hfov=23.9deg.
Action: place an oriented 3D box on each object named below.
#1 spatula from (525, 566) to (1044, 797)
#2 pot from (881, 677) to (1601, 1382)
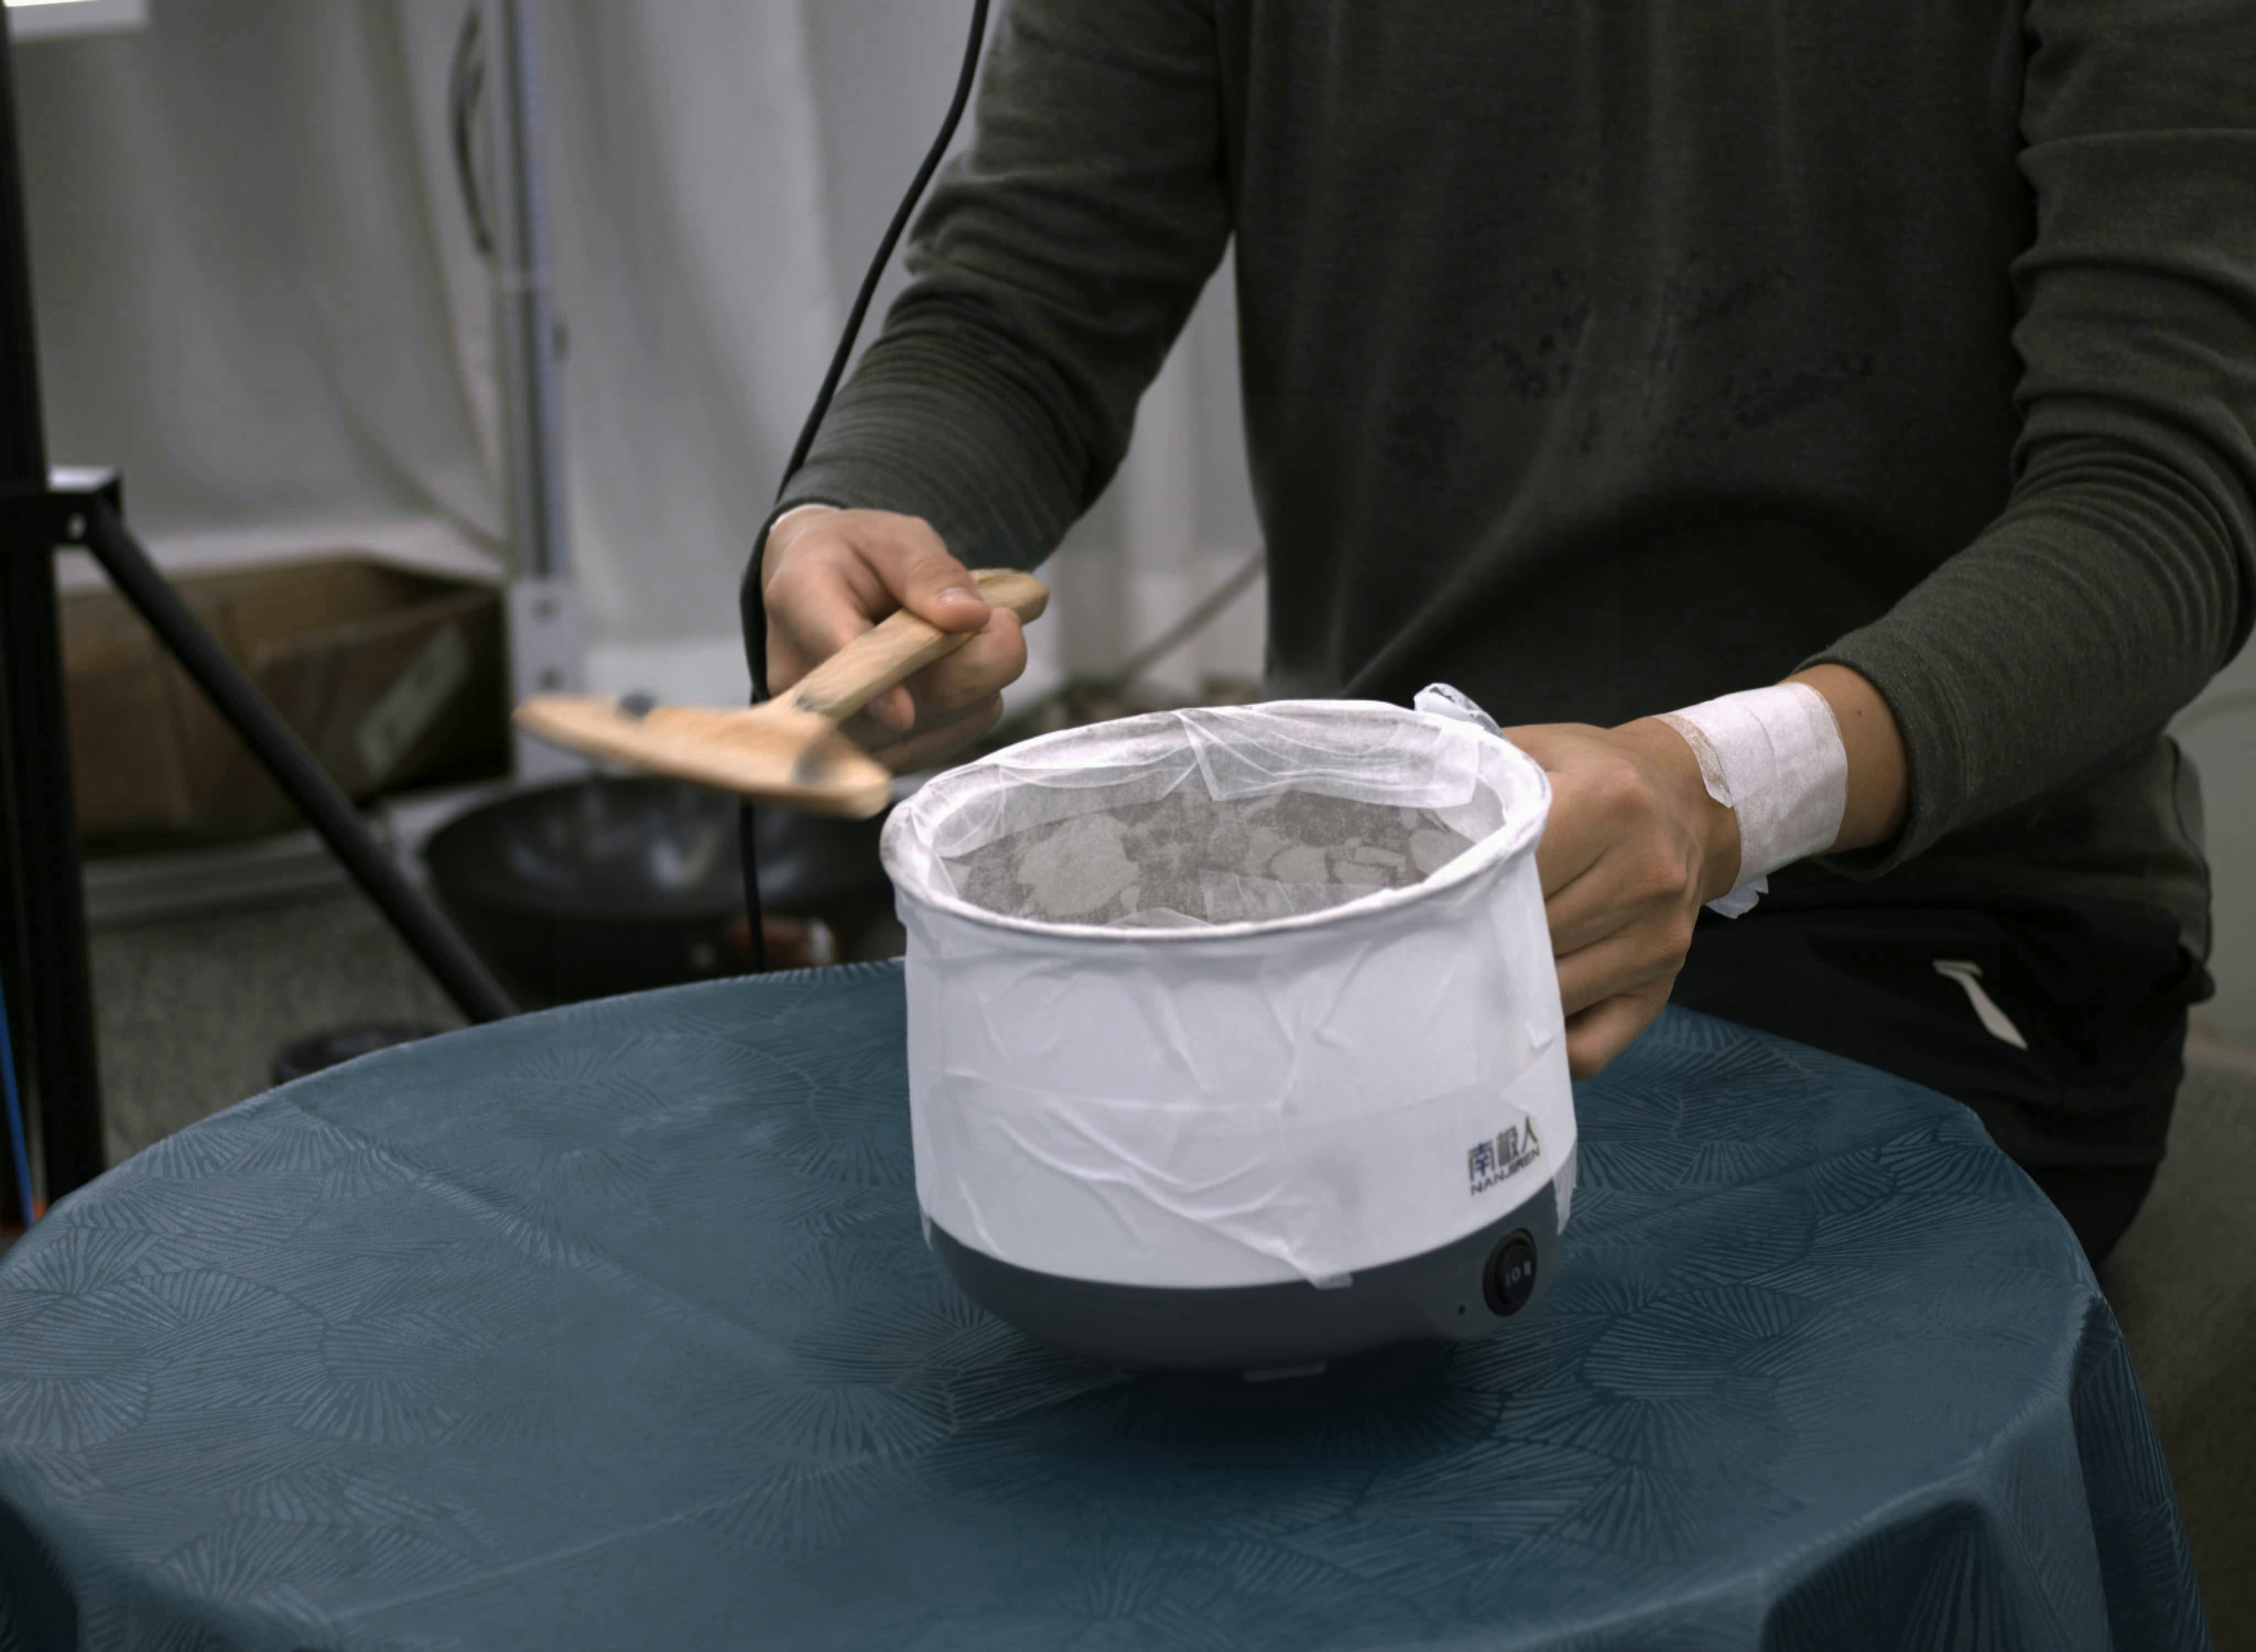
[{"bbox_3d":[-0.078,-0.050,1.520,0.096,0.018,0.388,18,13,8],"label":"spatula"},{"bbox_3d":[0.046,0.046,1.420,0.182,0.136,0.229,11,25,39],"label":"pot"}]
